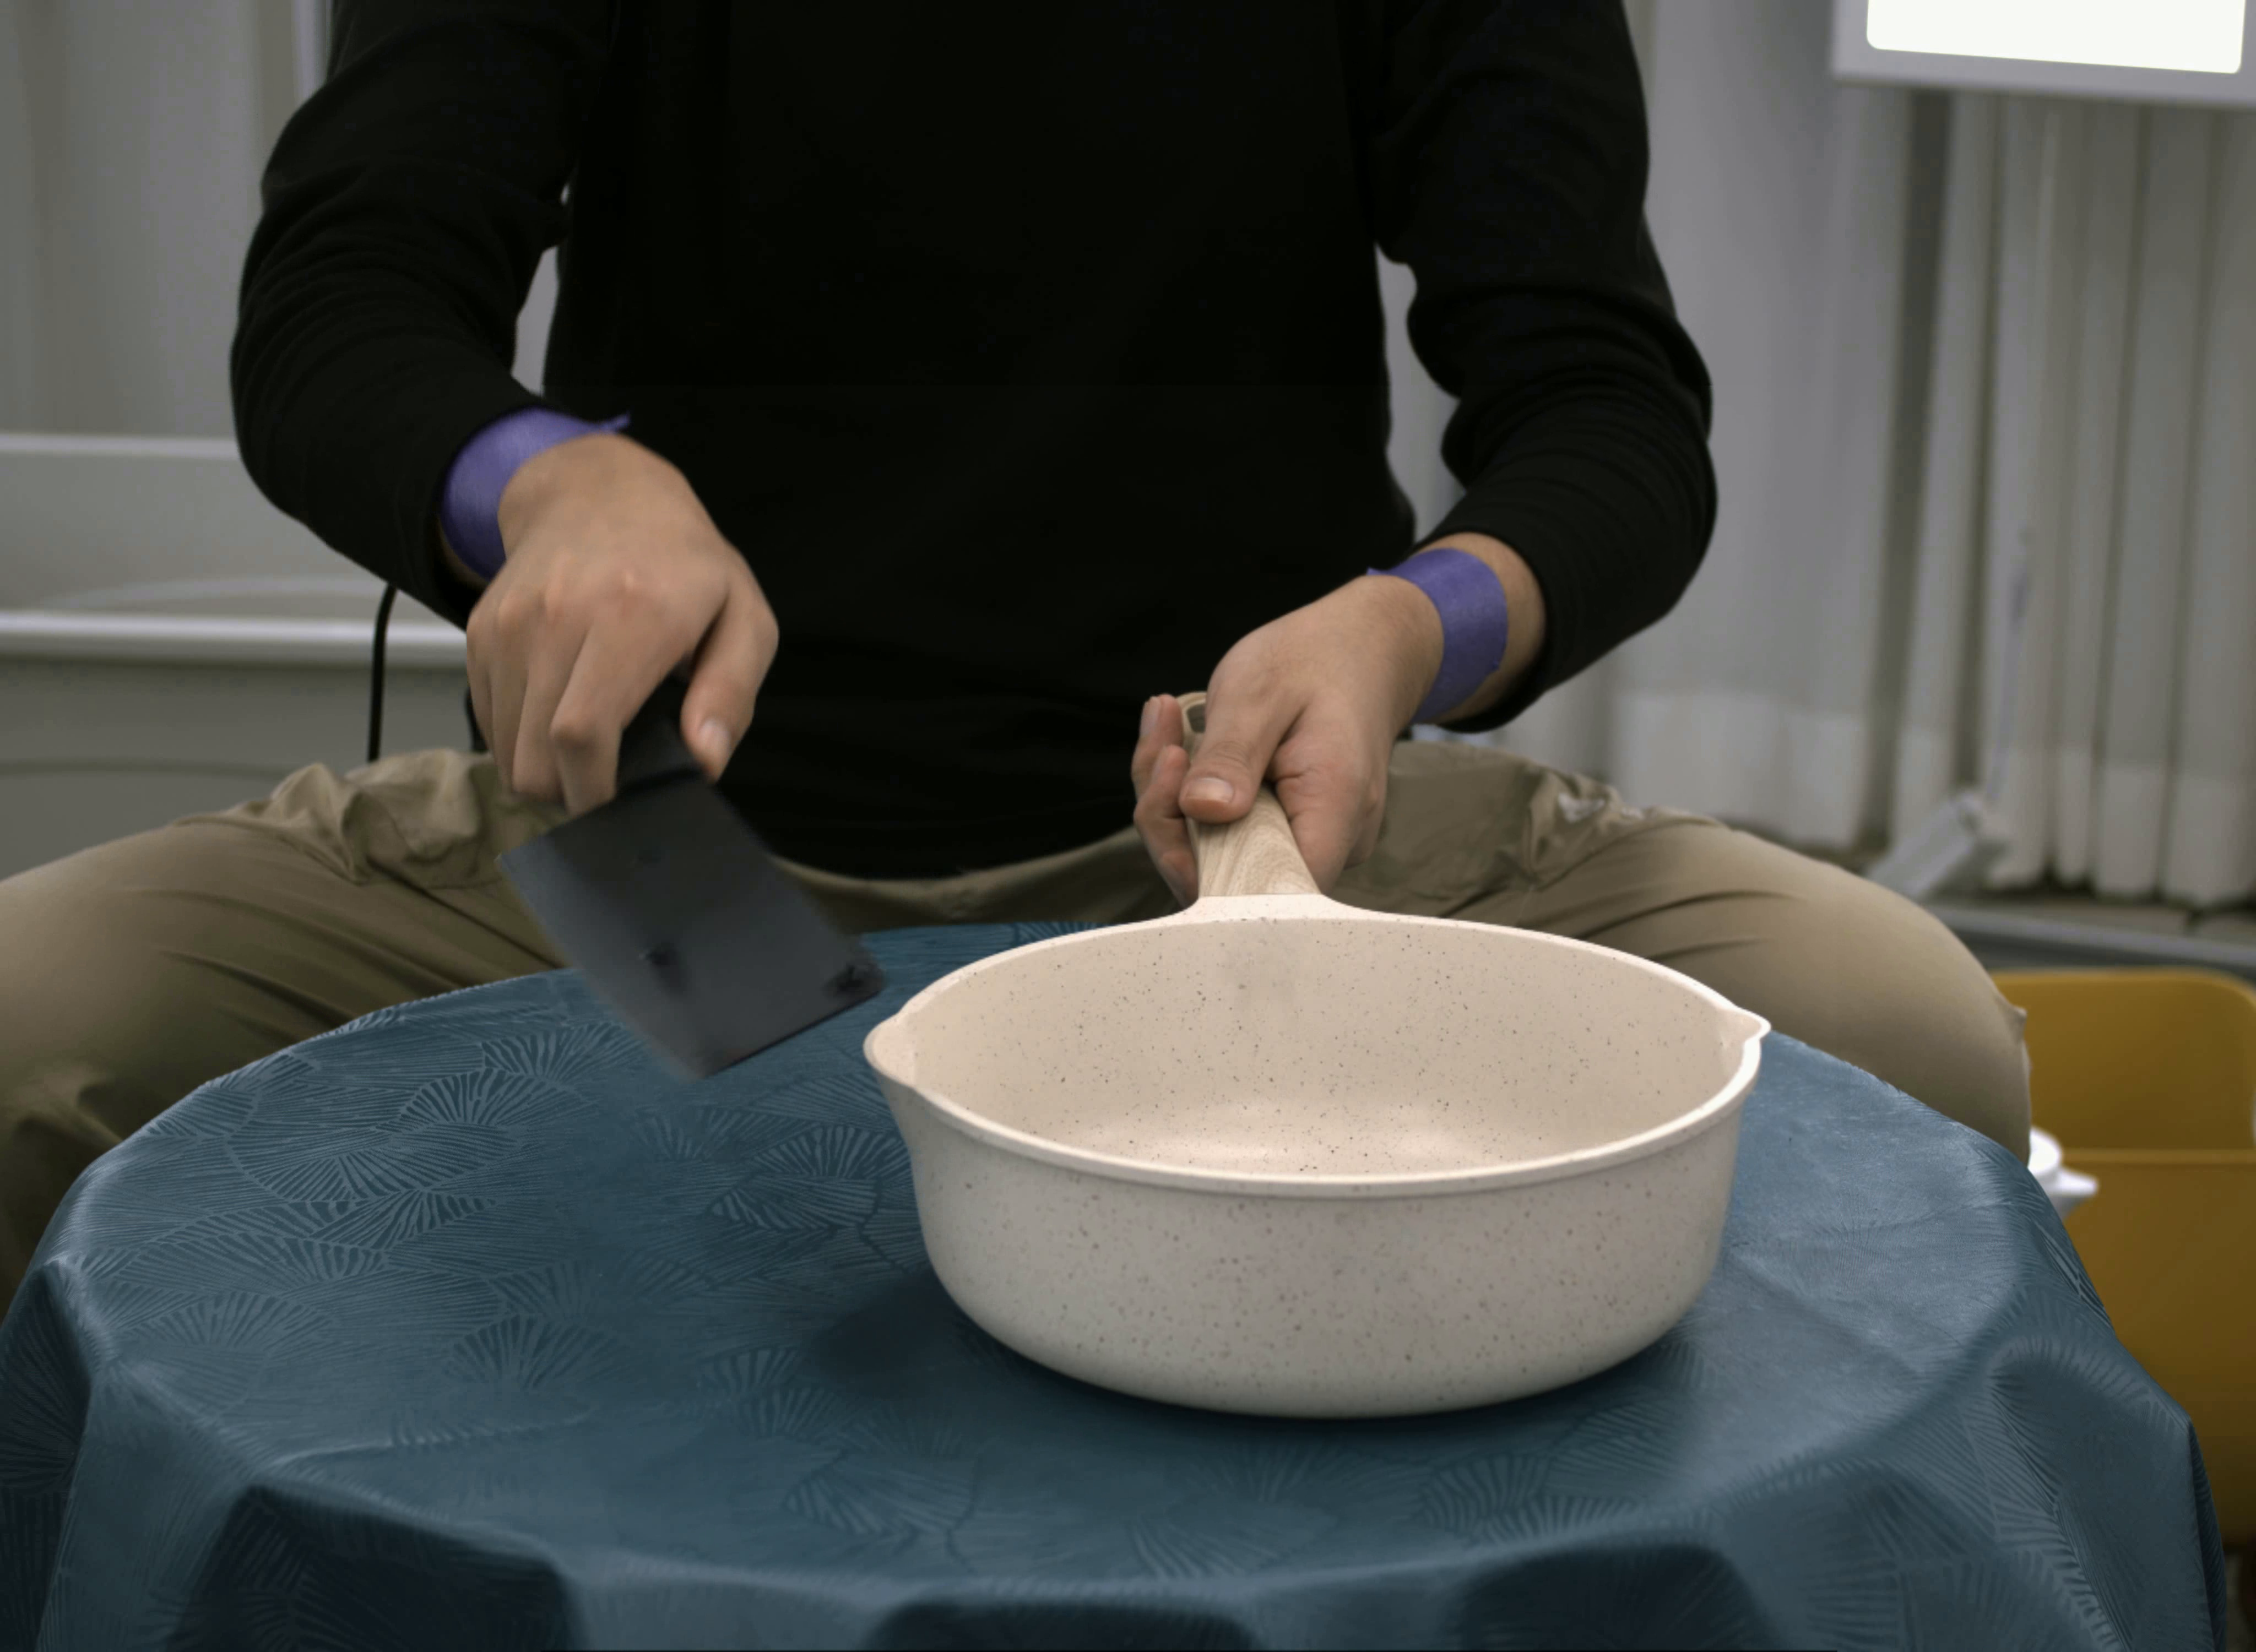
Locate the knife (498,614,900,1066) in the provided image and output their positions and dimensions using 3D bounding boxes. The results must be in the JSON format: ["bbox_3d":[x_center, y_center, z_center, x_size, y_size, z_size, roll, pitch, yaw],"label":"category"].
[{"bbox_3d":[-0.141,-0.001,1.543,0.081,0.021,0.298,-25,29,-8],"label":"knife"}]

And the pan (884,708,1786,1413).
[{"bbox_3d":[0.051,0.066,1.606,0.263,0.103,0.431,-3,16,-6],"label":"pan"}]
